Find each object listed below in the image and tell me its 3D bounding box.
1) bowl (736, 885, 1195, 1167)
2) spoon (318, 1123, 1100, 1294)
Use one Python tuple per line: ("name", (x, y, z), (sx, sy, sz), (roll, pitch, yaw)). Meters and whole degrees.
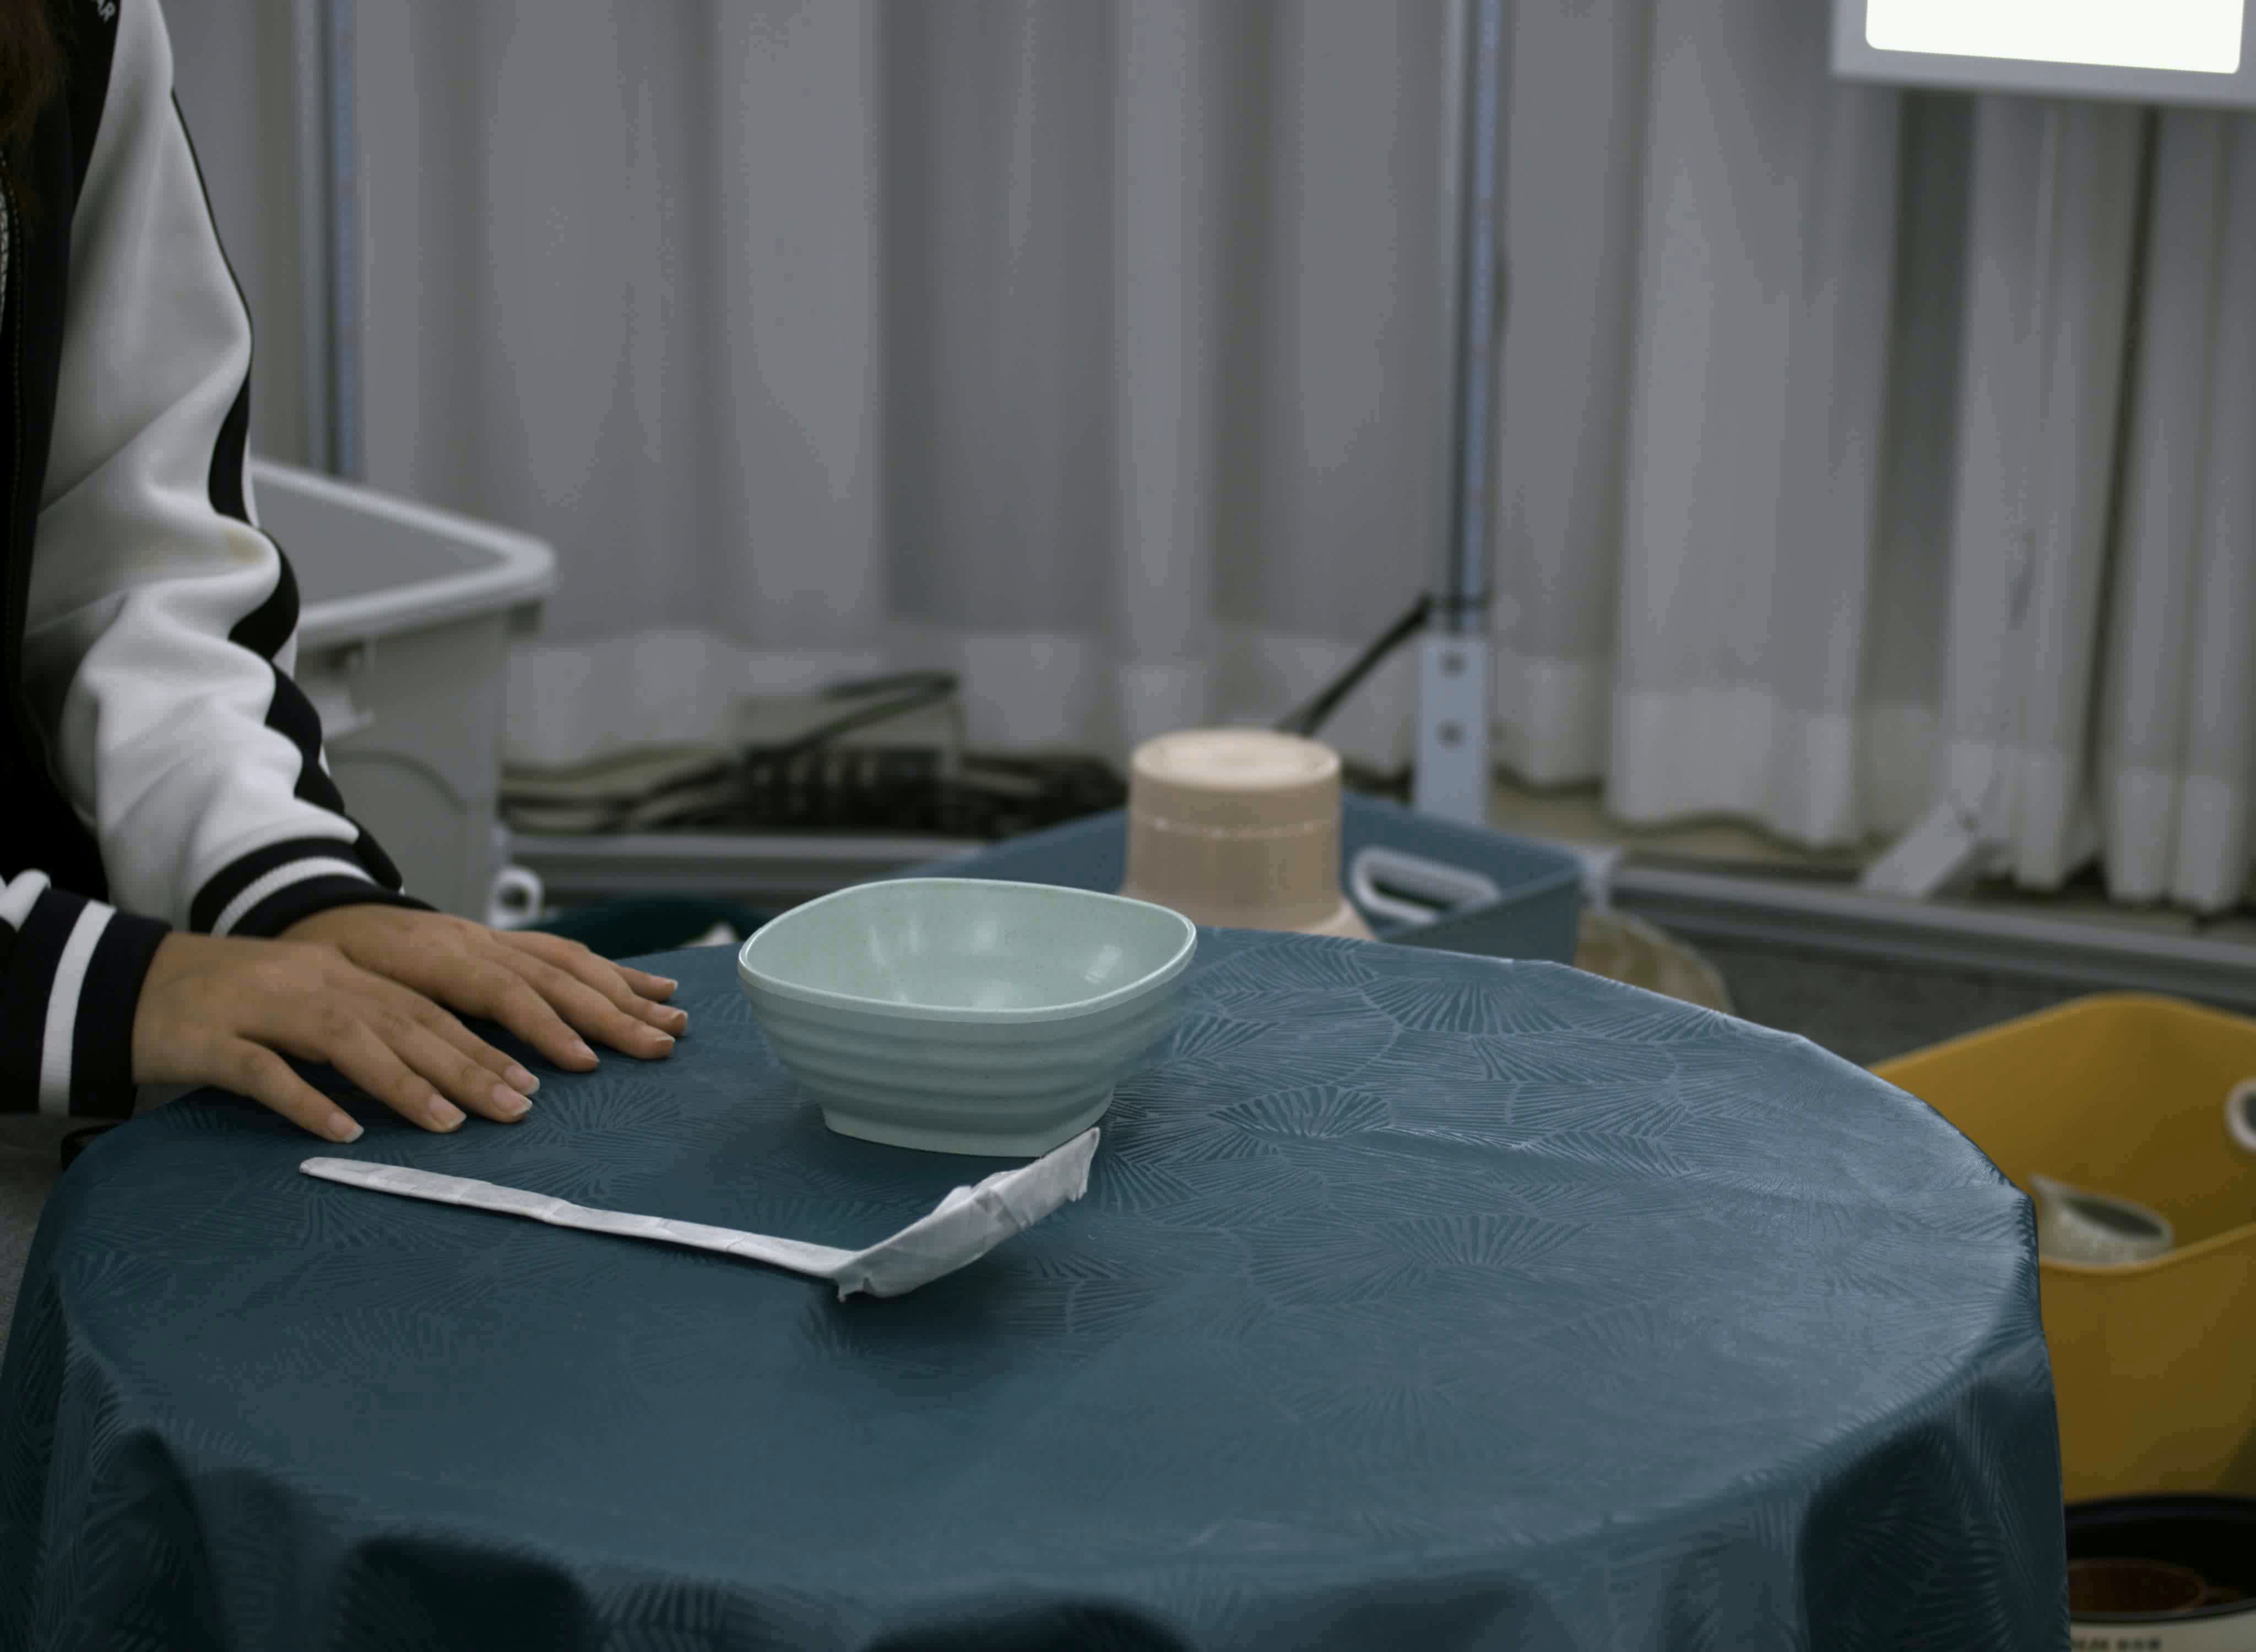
("bowl", (-0.052, 0.067, 1.687), (0.151, 0.059, 0.150), (1, 16, 0))
("spoon", (-0.131, 0.095, 1.574), (0.274, 0.060, 0.101), (10, 13, 31))
